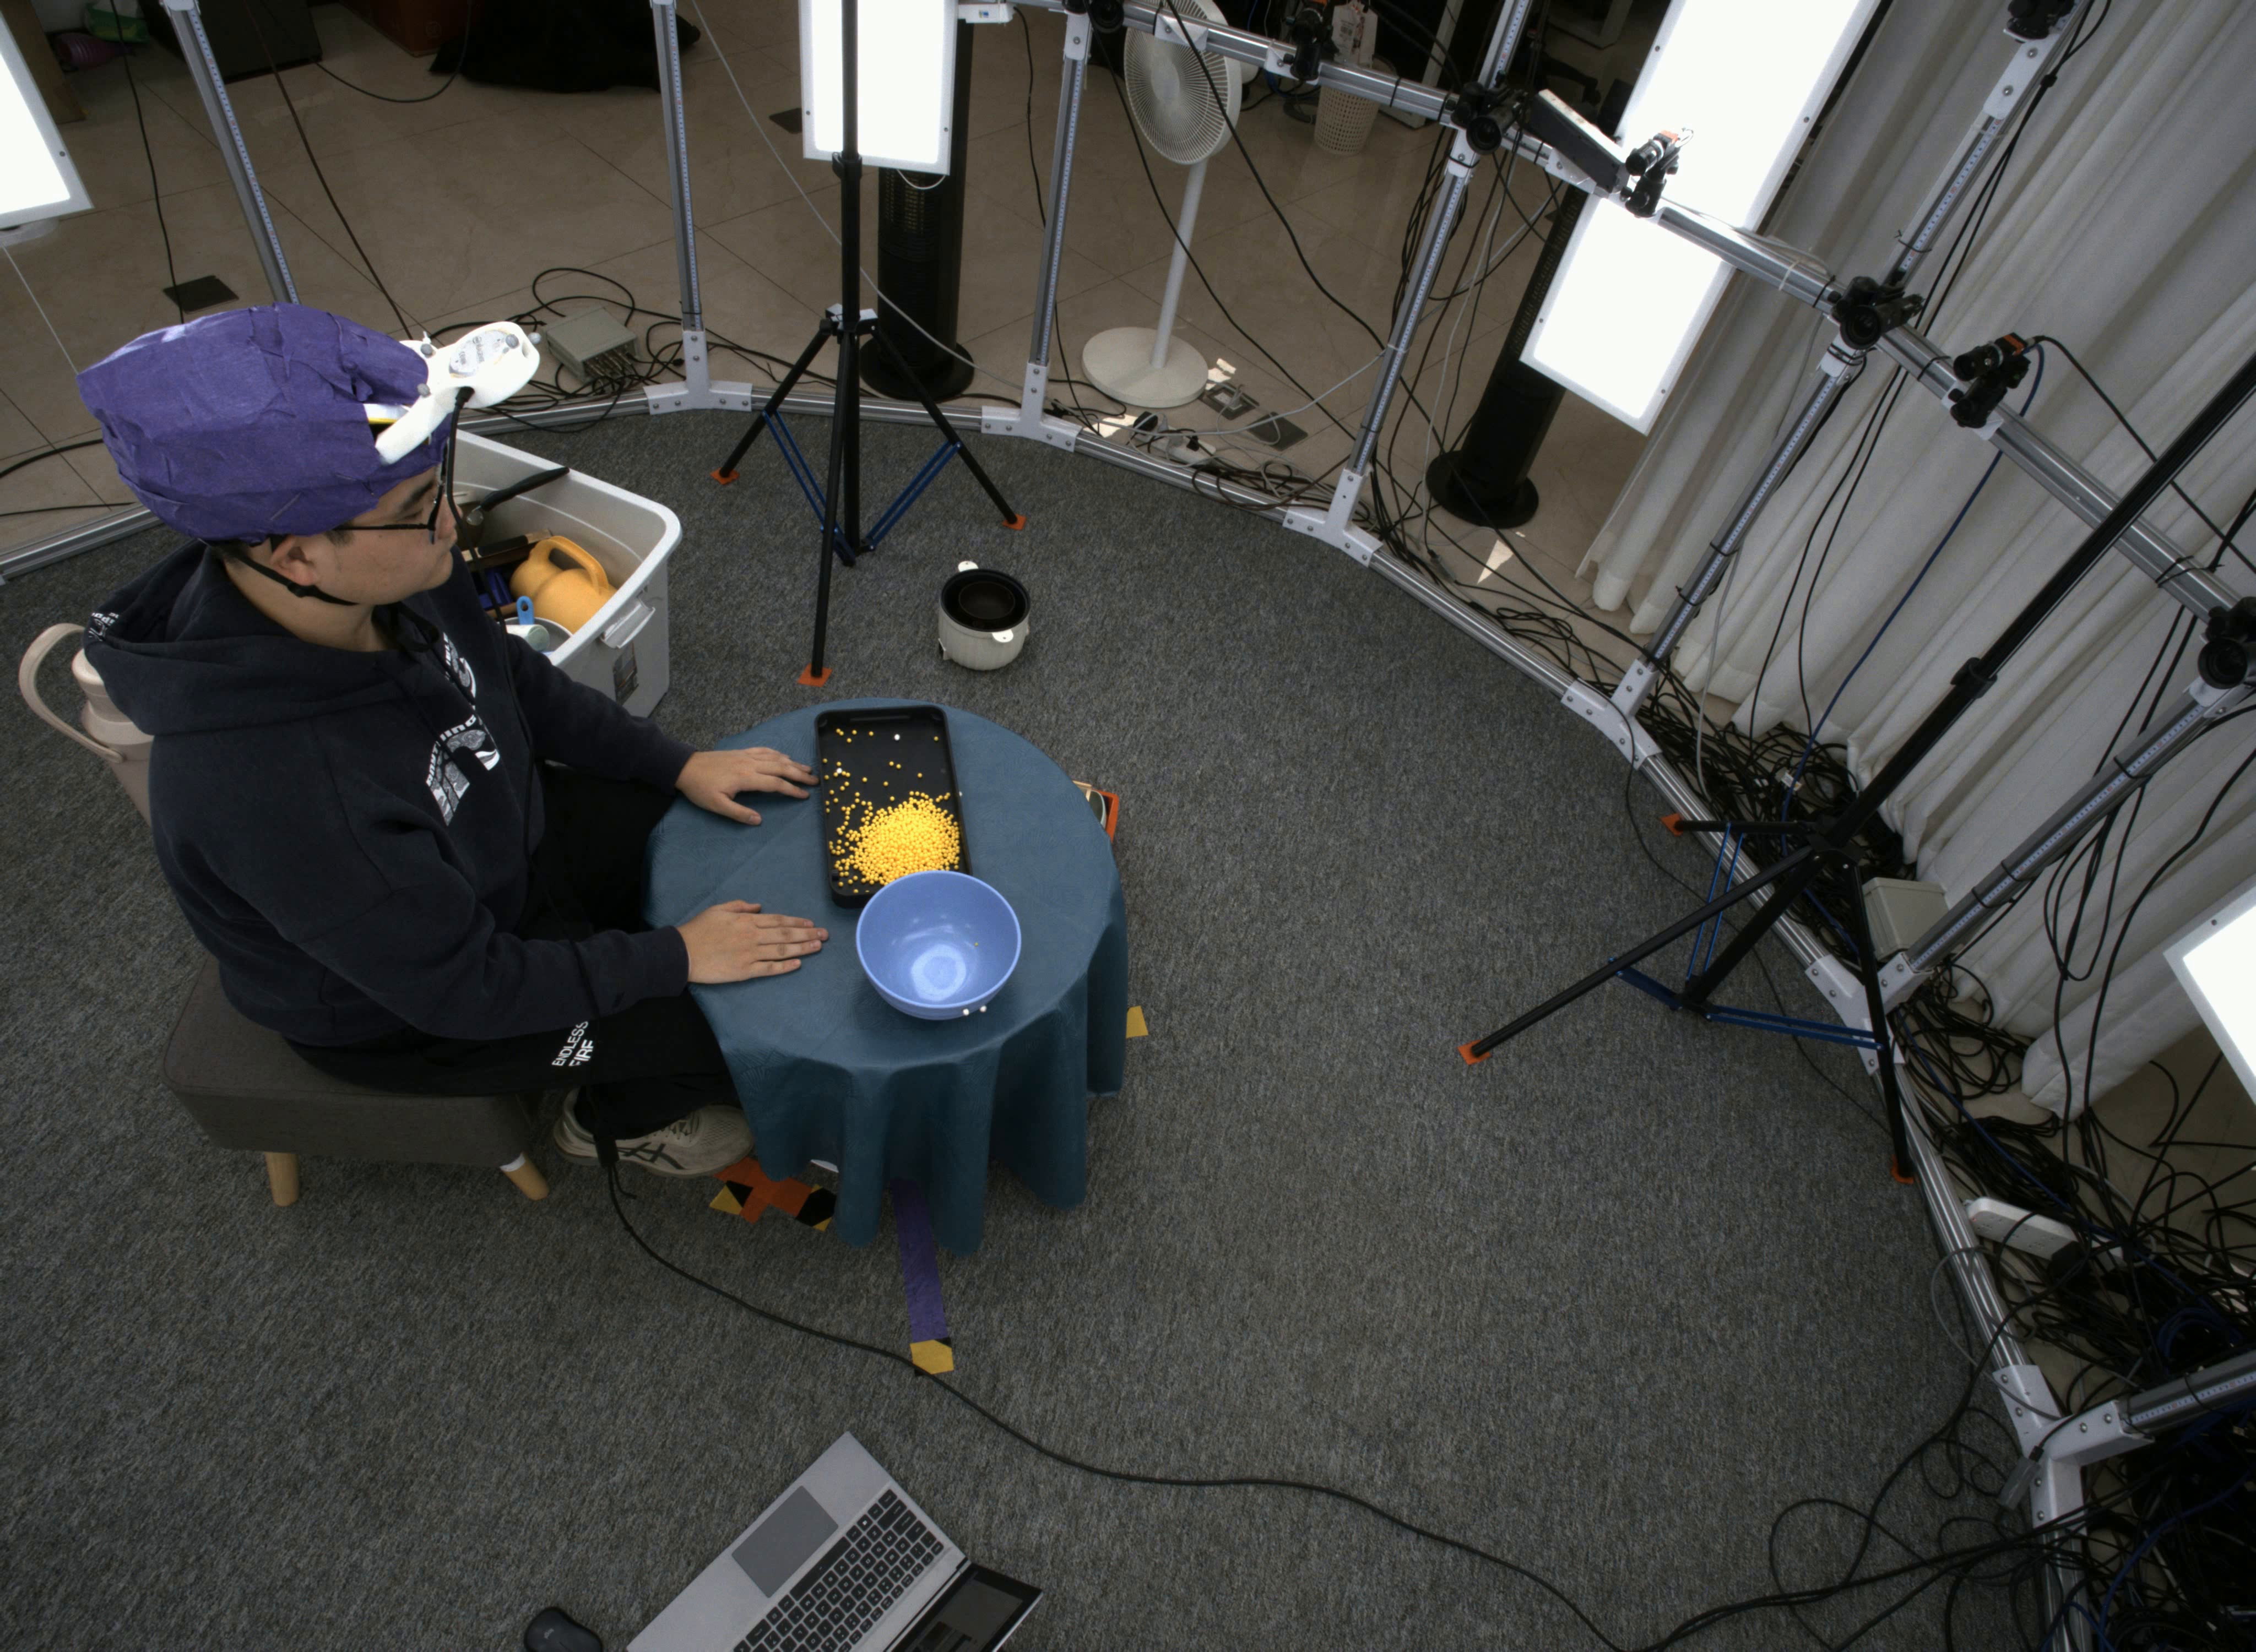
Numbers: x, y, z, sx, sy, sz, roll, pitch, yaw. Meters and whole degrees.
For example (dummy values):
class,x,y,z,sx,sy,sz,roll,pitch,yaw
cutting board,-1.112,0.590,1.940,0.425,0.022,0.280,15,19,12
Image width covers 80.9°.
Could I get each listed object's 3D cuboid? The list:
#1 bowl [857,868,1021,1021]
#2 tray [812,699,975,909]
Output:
class,x,y,z,sx,sy,sz,roll,pitch,yaw
bowl,-0.231,0.157,1.588,0.196,0.097,0.193,8,53,-9
tray,-0.320,-0.037,1.752,0.185,0.038,0.311,-5,56,-17
